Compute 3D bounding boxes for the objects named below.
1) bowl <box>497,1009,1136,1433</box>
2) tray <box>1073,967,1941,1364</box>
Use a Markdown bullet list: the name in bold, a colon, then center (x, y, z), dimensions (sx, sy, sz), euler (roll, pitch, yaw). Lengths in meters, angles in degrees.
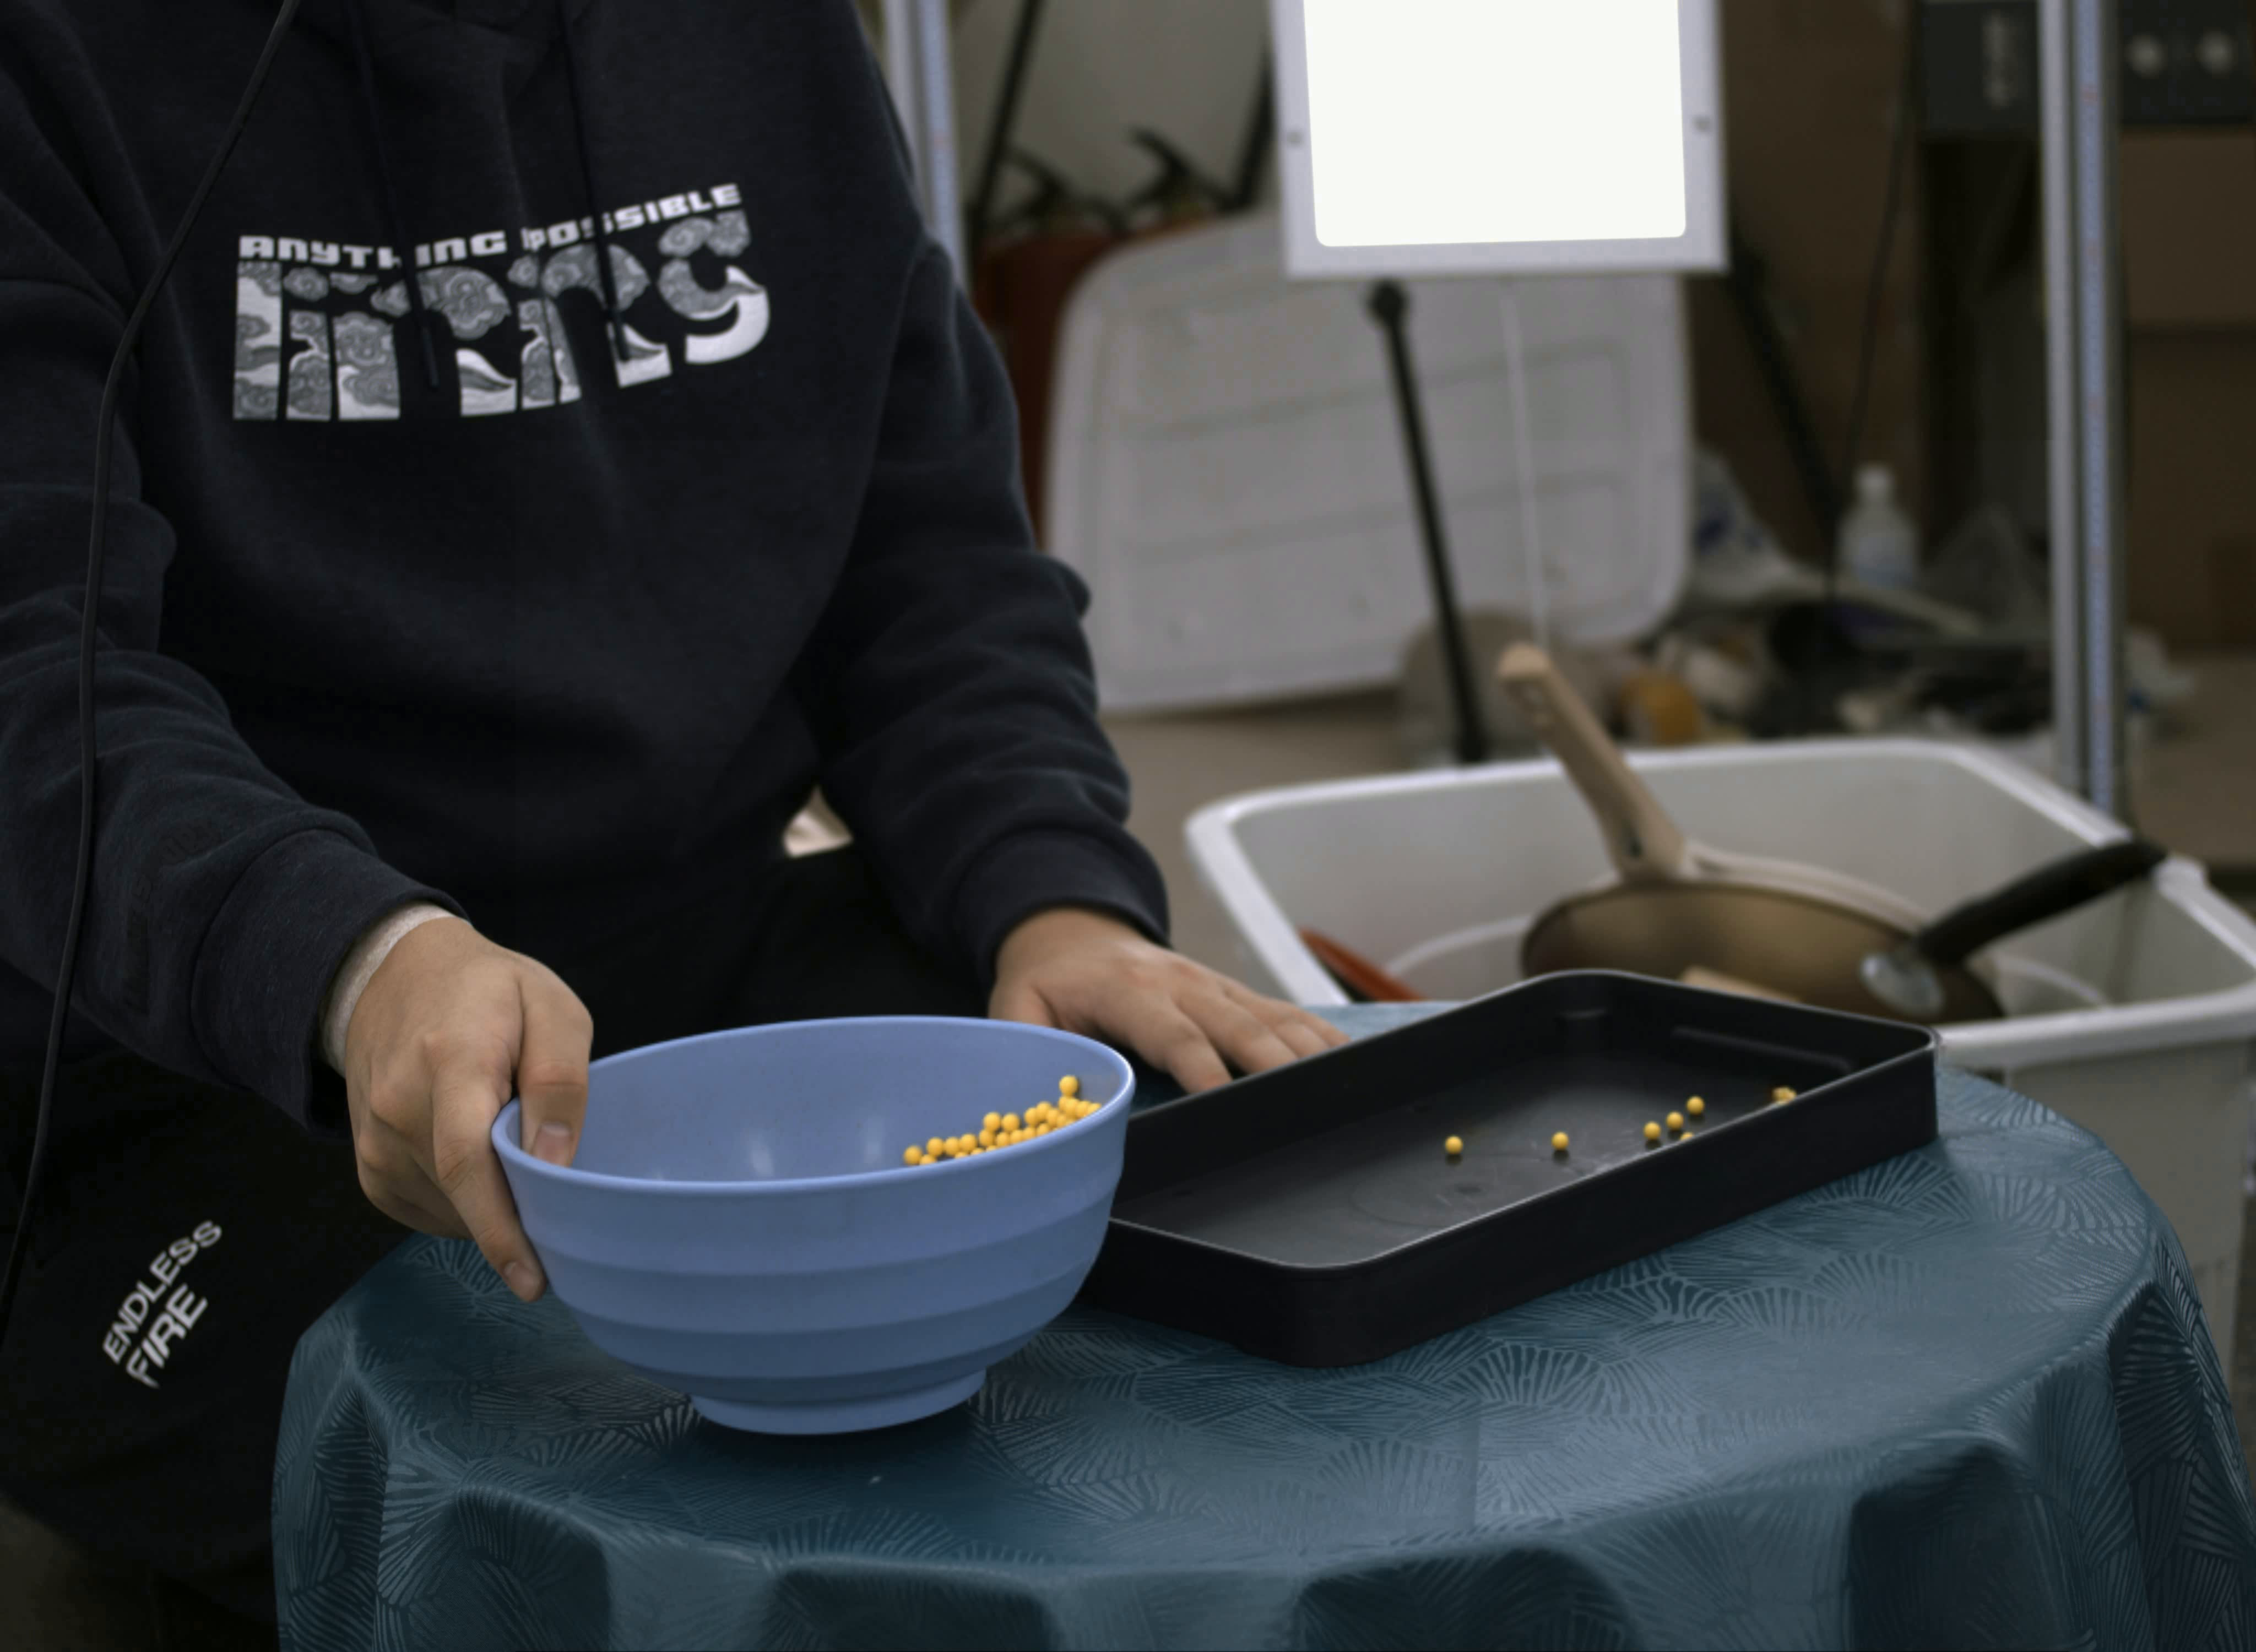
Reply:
- **bowl**: center (-0.091, 0.126, 1.691), dimensions (0.196, 0.096, 0.196), euler (-5, 13, 0)
- **tray**: center (0.114, 0.109, 1.850), dimensions (0.310, 0.037, 0.188), euler (-16, 17, -39)
